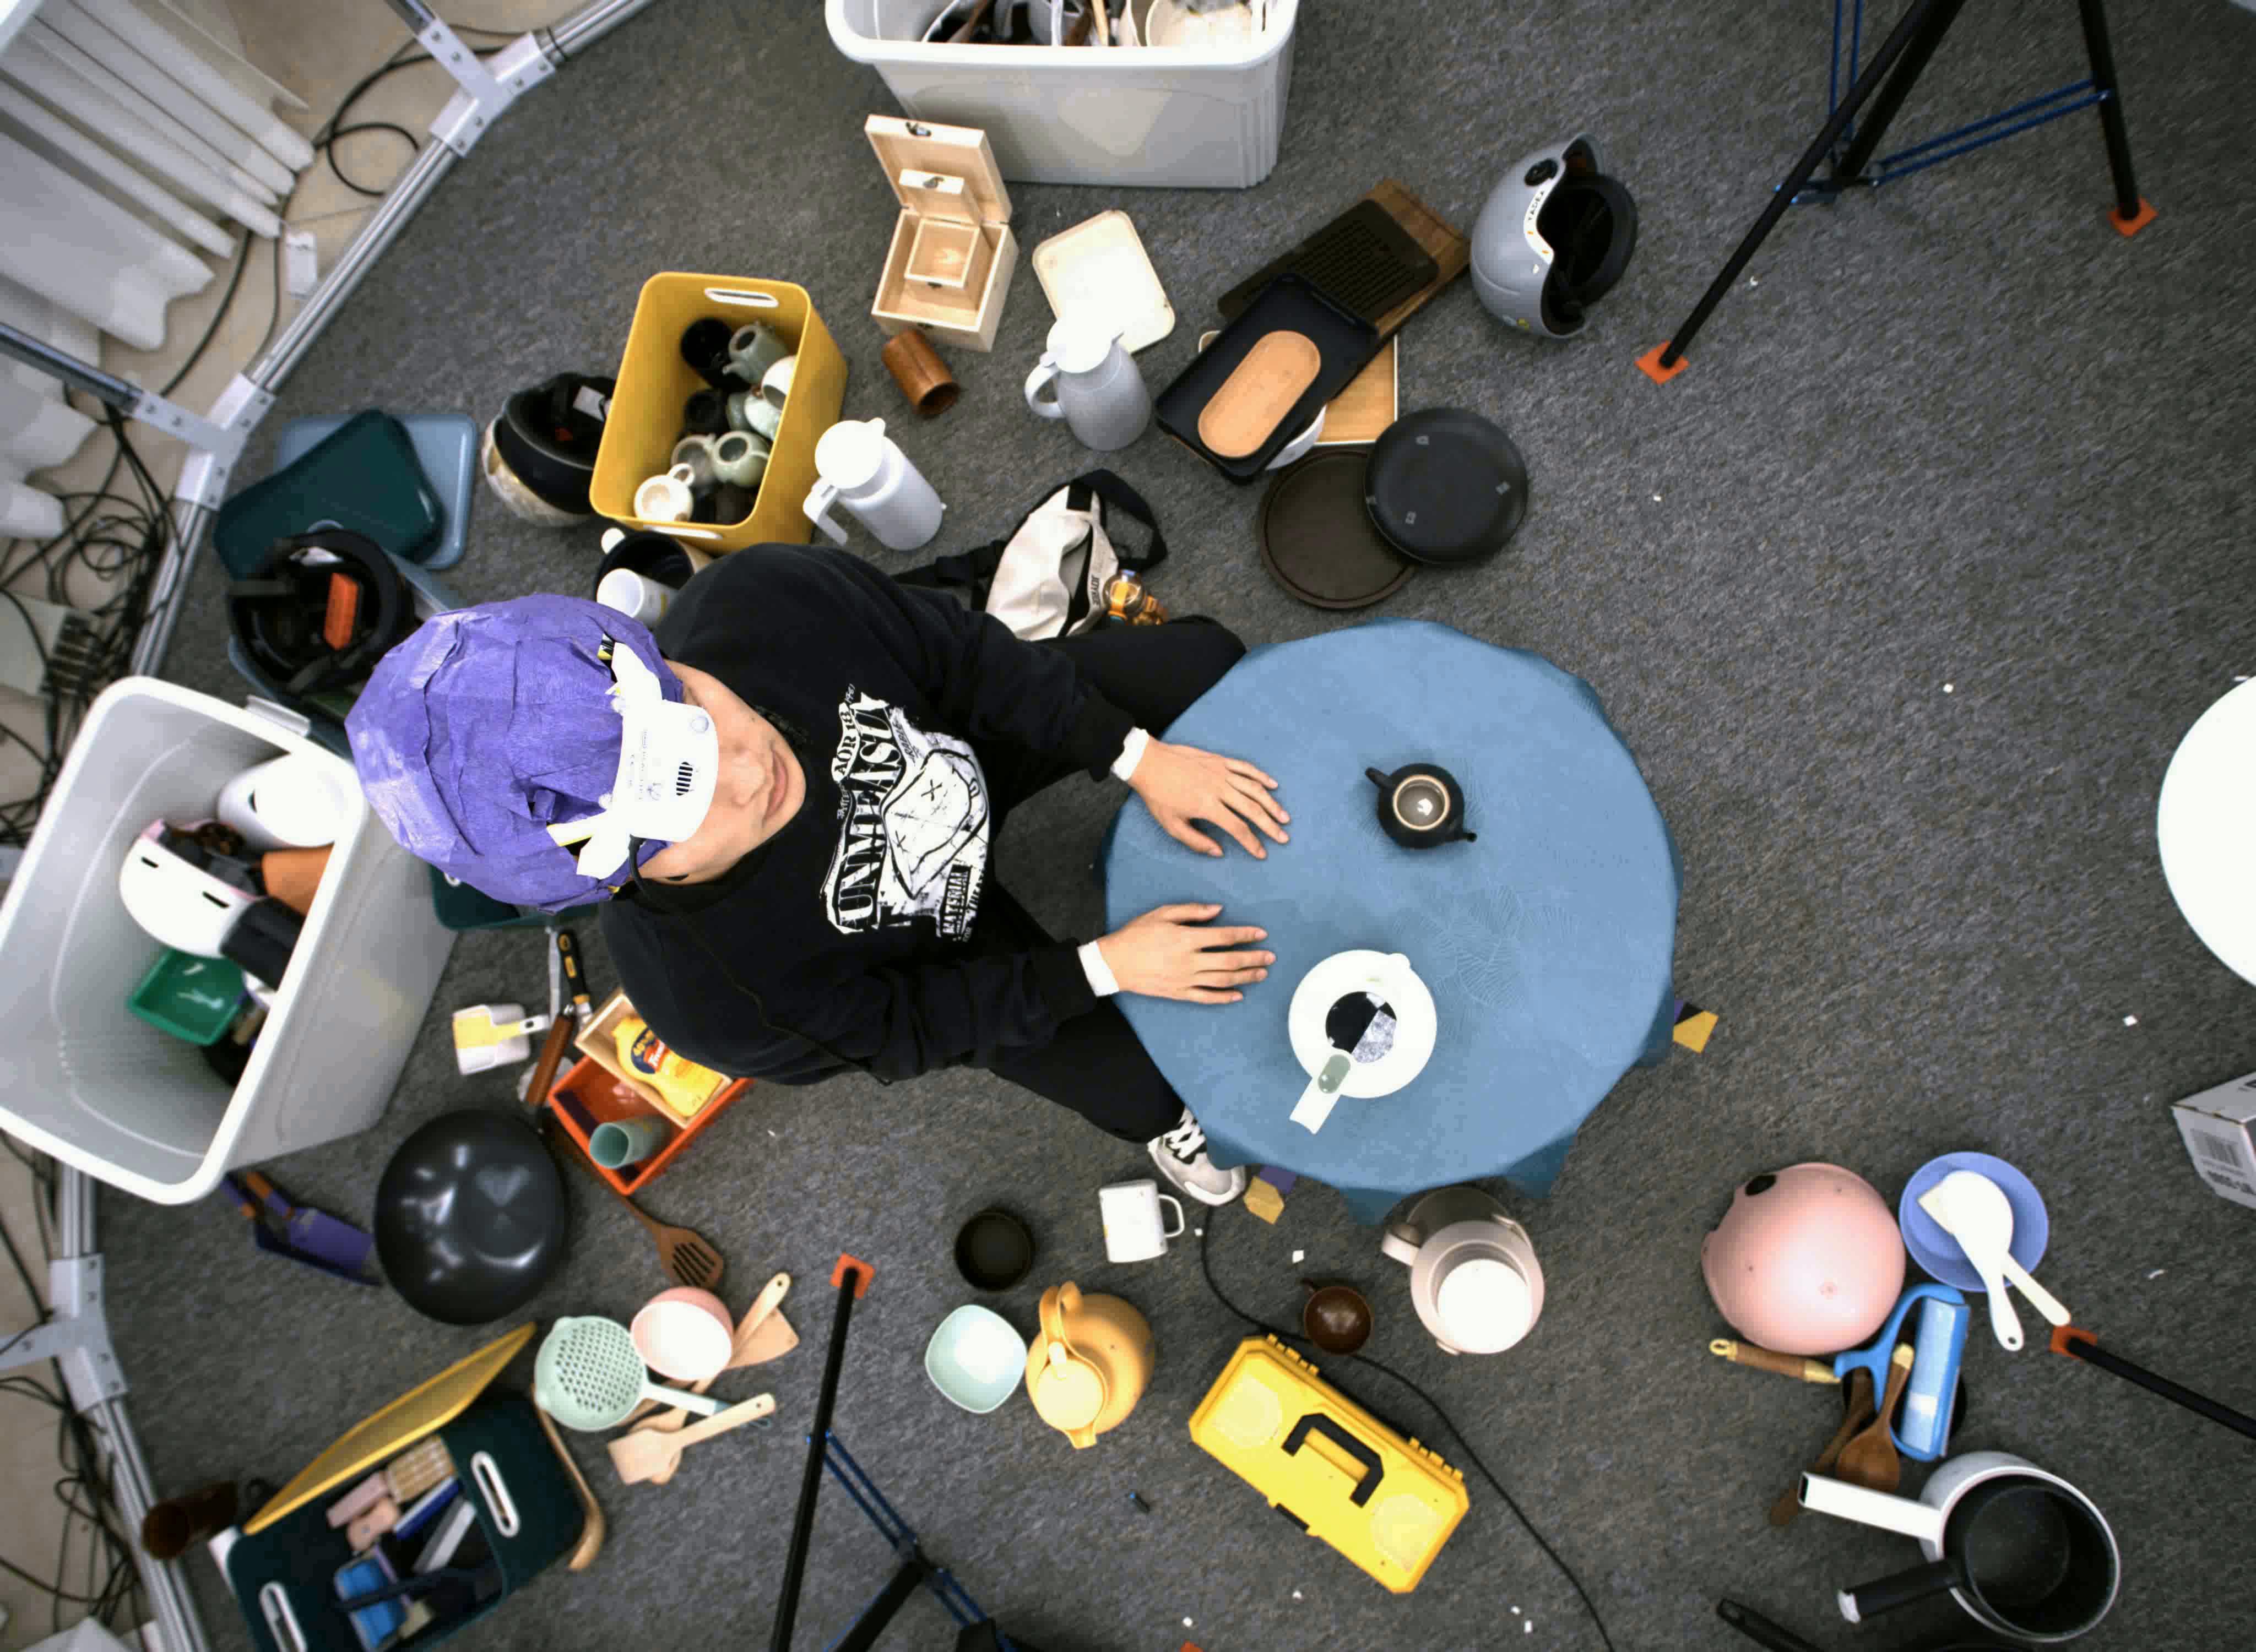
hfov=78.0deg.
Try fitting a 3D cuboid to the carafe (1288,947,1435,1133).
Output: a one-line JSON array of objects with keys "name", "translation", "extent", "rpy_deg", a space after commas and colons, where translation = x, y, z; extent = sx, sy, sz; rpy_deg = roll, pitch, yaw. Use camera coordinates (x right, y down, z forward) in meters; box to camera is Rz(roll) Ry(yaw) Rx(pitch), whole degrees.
[{"name": "carafe", "translation": [0.218, 0.202, 1.338], "extent": [0.144, 0.256, 0.187], "rpy_deg": [30, 94, 10]}]

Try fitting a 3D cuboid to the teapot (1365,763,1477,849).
[{"name": "teapot", "translation": [0.304, -0.023, 1.432], "extent": [0.133, 0.053, 0.091], "rpy_deg": [34, 92, 10]}]
